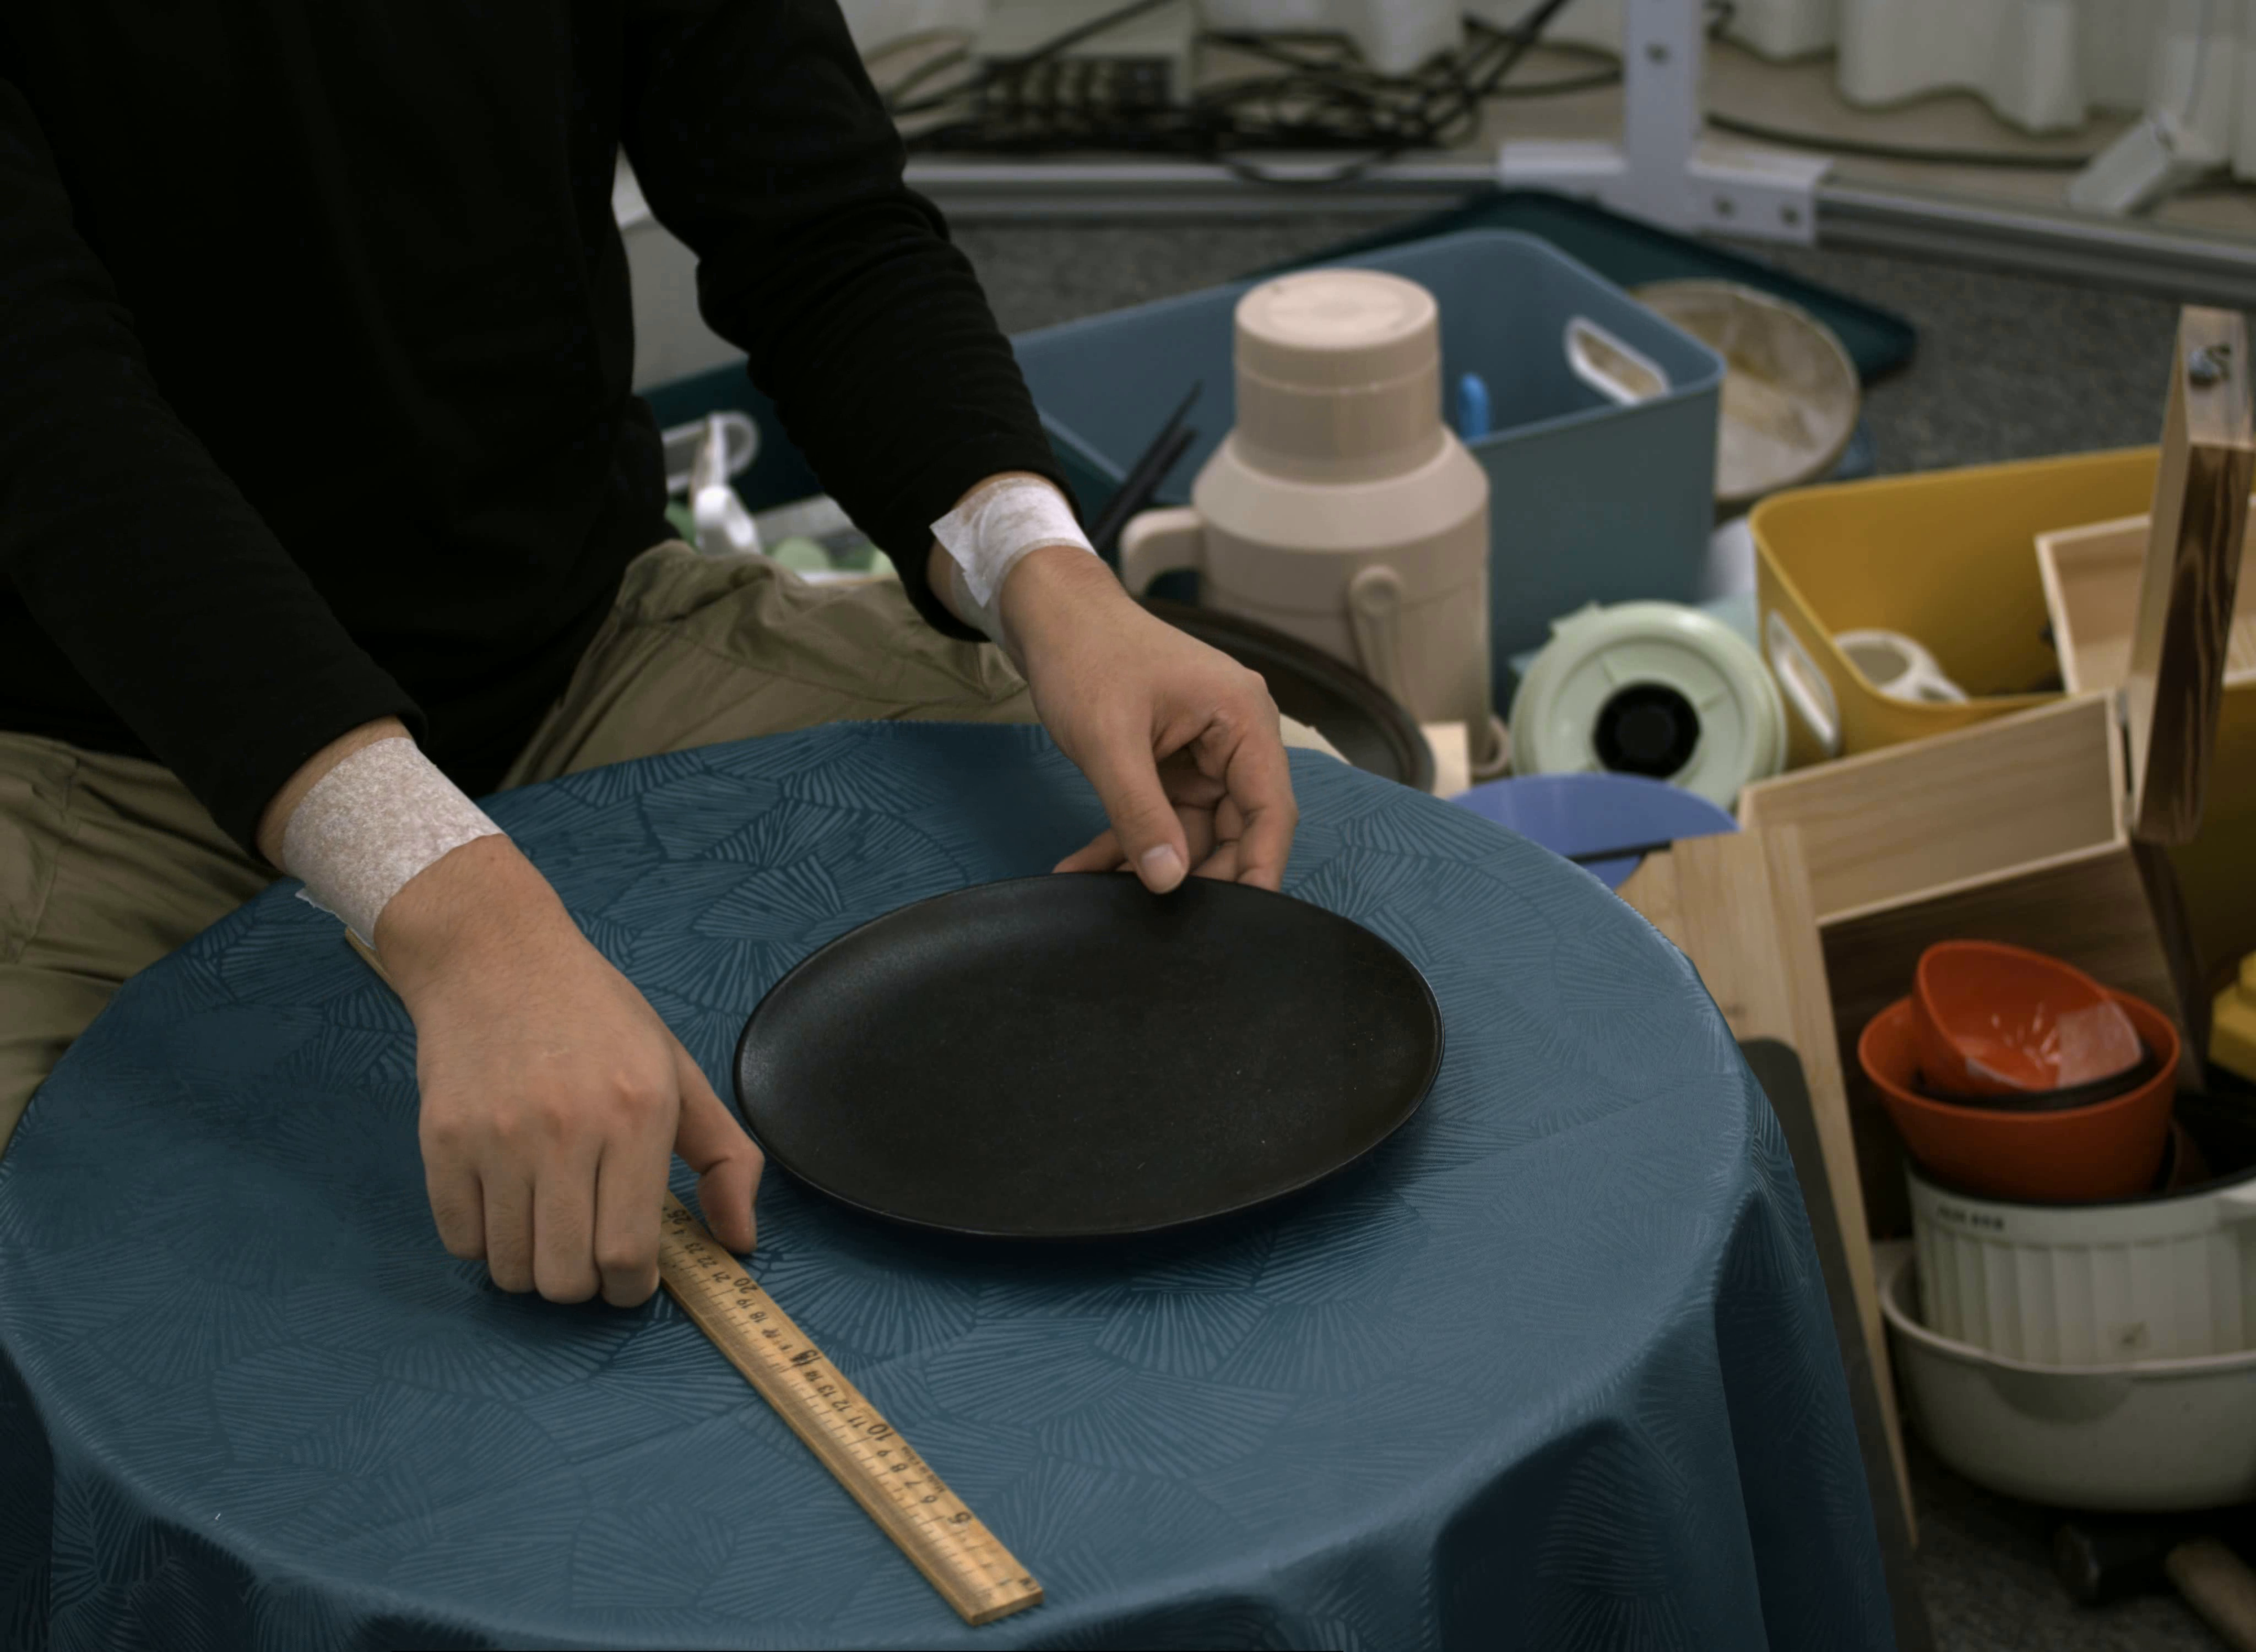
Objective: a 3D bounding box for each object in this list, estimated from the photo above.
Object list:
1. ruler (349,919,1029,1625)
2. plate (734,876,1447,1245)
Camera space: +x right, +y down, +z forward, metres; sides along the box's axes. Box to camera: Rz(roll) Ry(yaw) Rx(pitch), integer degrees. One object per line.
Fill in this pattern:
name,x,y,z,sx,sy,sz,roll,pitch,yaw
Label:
ruler,-0.155,0.134,1.847,0.027,0.006,0.503,-12,28,-25
plate,-0.012,0.083,1.911,0.243,0.023,0.248,-2,27,2
